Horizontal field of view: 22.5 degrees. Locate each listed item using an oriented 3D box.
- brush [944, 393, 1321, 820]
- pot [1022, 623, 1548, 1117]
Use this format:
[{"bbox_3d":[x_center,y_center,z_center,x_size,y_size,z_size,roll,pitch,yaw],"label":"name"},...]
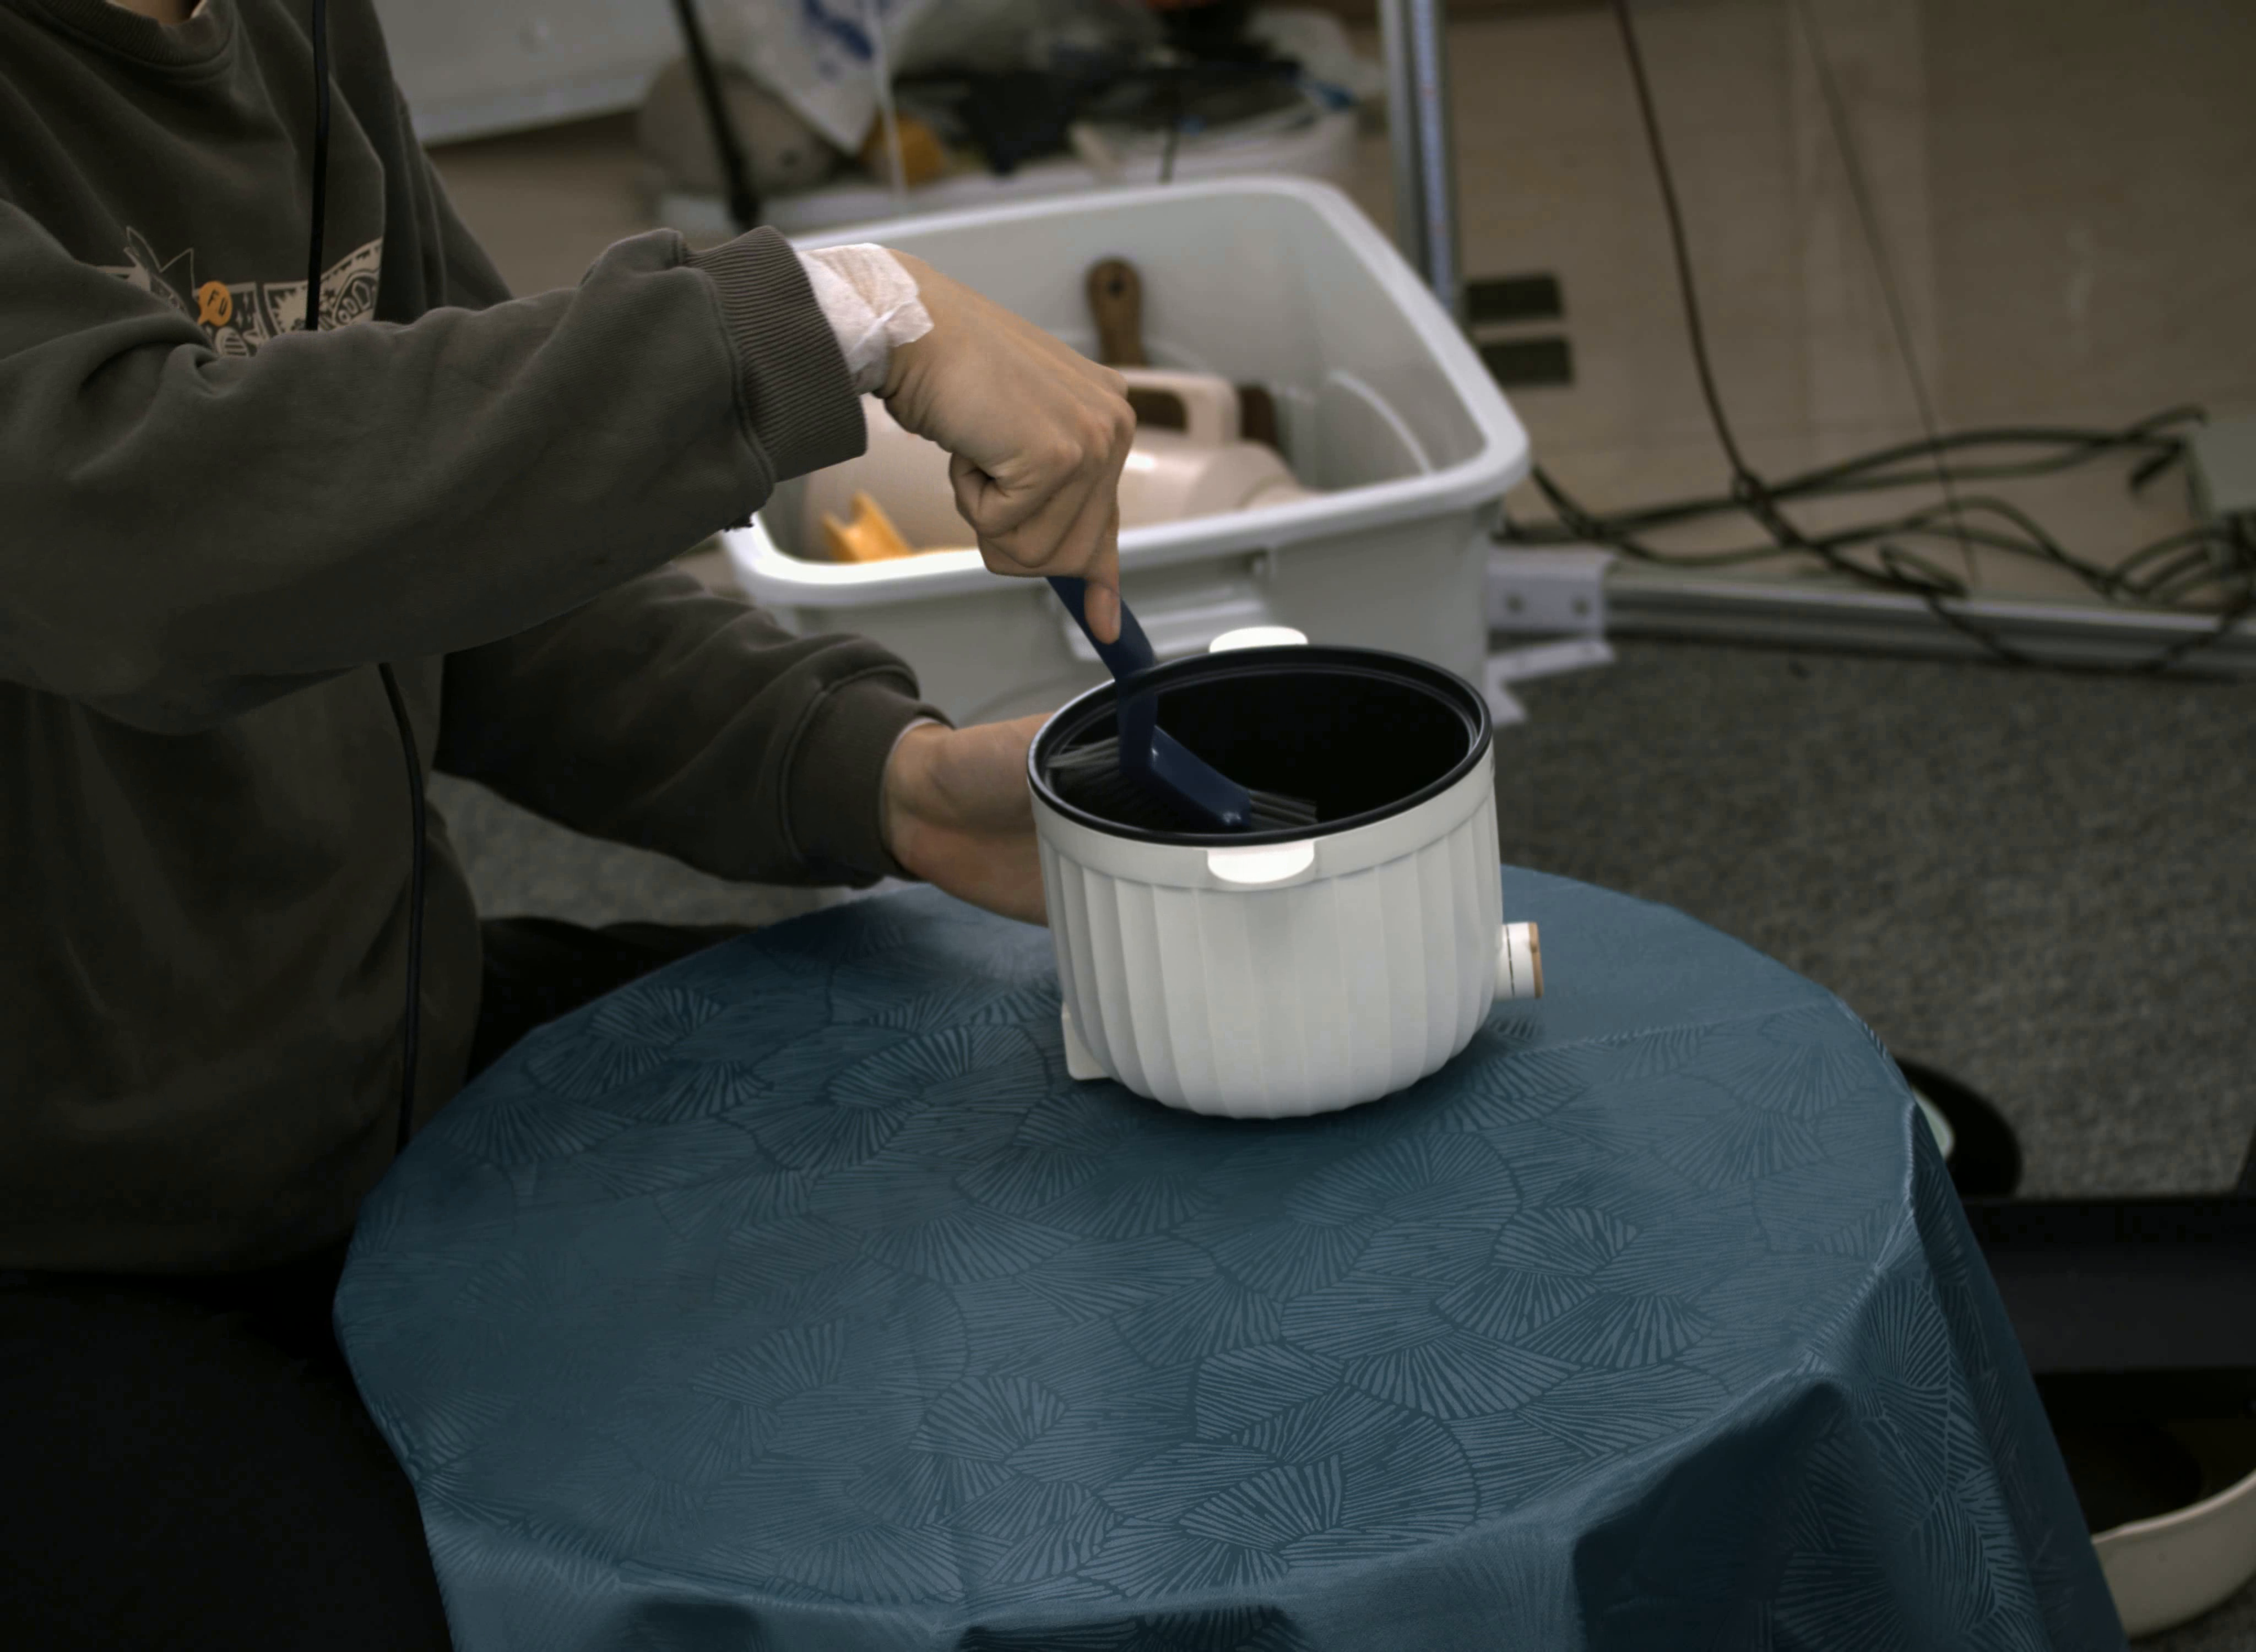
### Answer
[{"bbox_3d":[0.002,-0.069,2.131,0.095,0.278,0.033,-8,52,13],"label":"brush"},{"bbox_3d":[0.063,0.023,2.210,0.190,0.145,0.237,-9,27,5],"label":"pot"}]
